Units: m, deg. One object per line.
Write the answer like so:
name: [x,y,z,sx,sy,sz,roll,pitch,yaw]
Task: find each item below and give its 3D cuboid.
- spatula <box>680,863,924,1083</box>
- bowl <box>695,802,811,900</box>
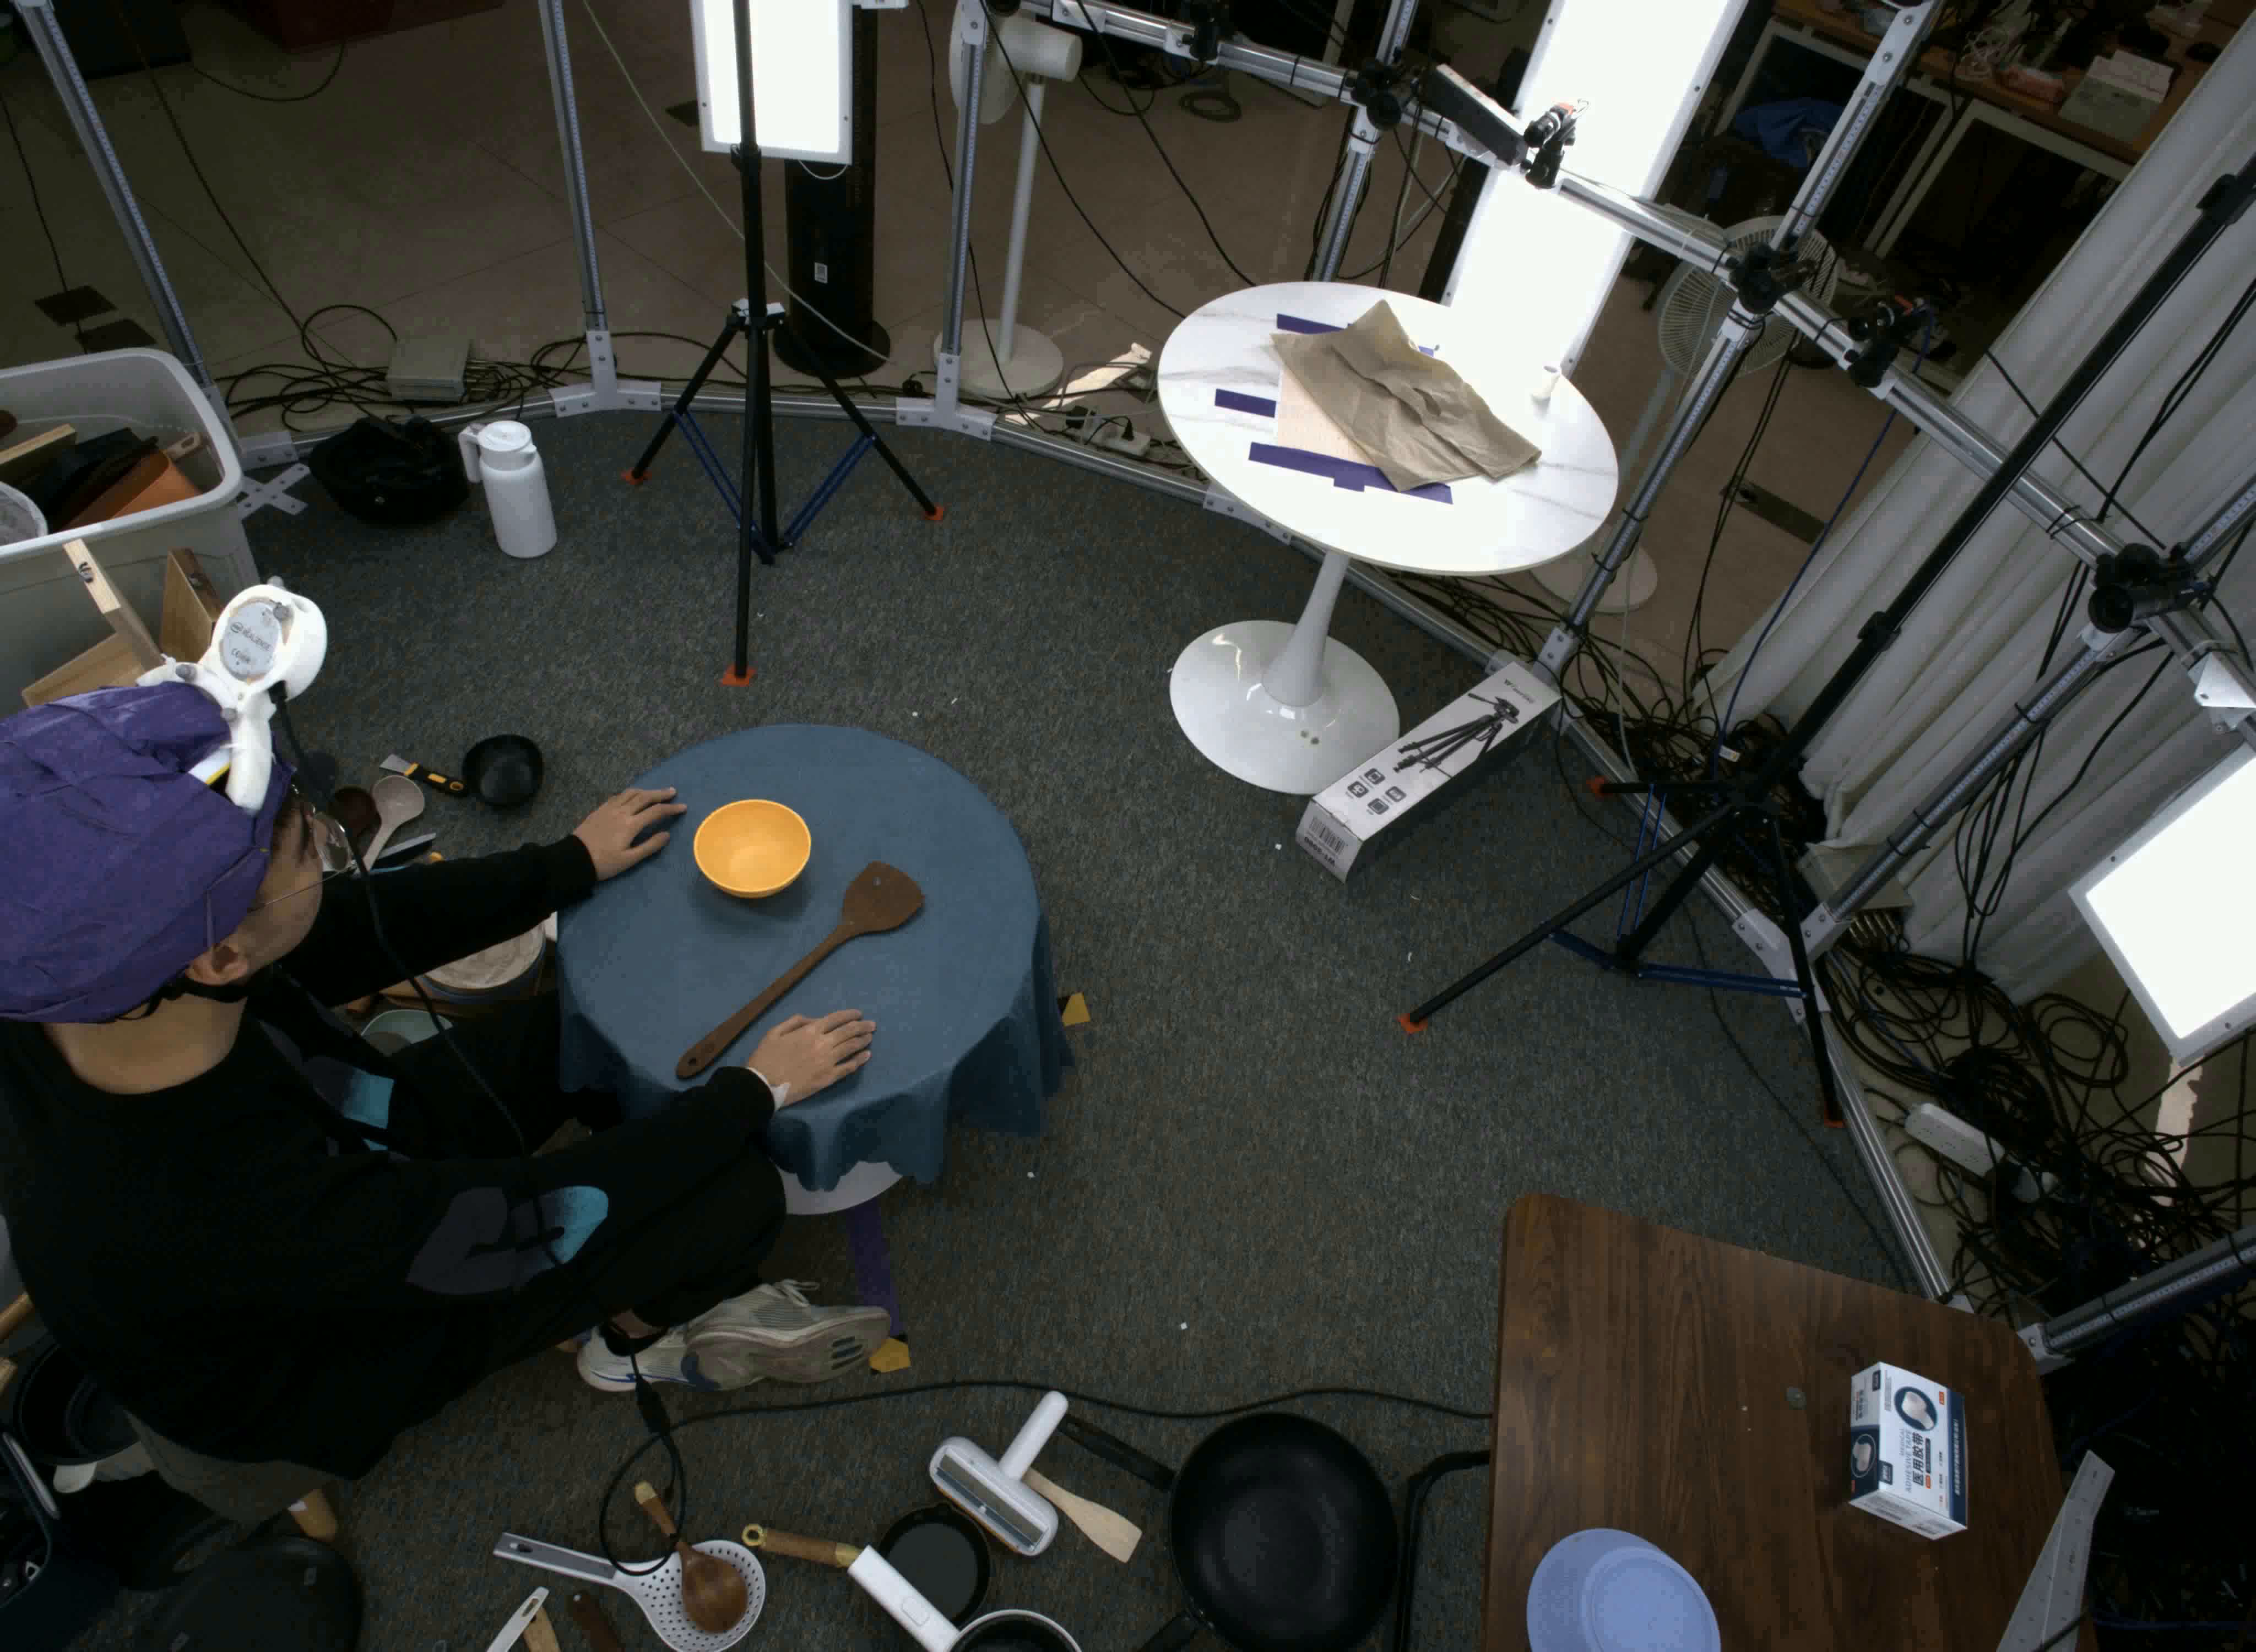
spatula: [-0.403,0.177,1.594,0.094,0.016,0.386,36,54,13]
bowl: [-0.475,0.042,1.650,0.144,0.061,0.142,6,51,-6]
